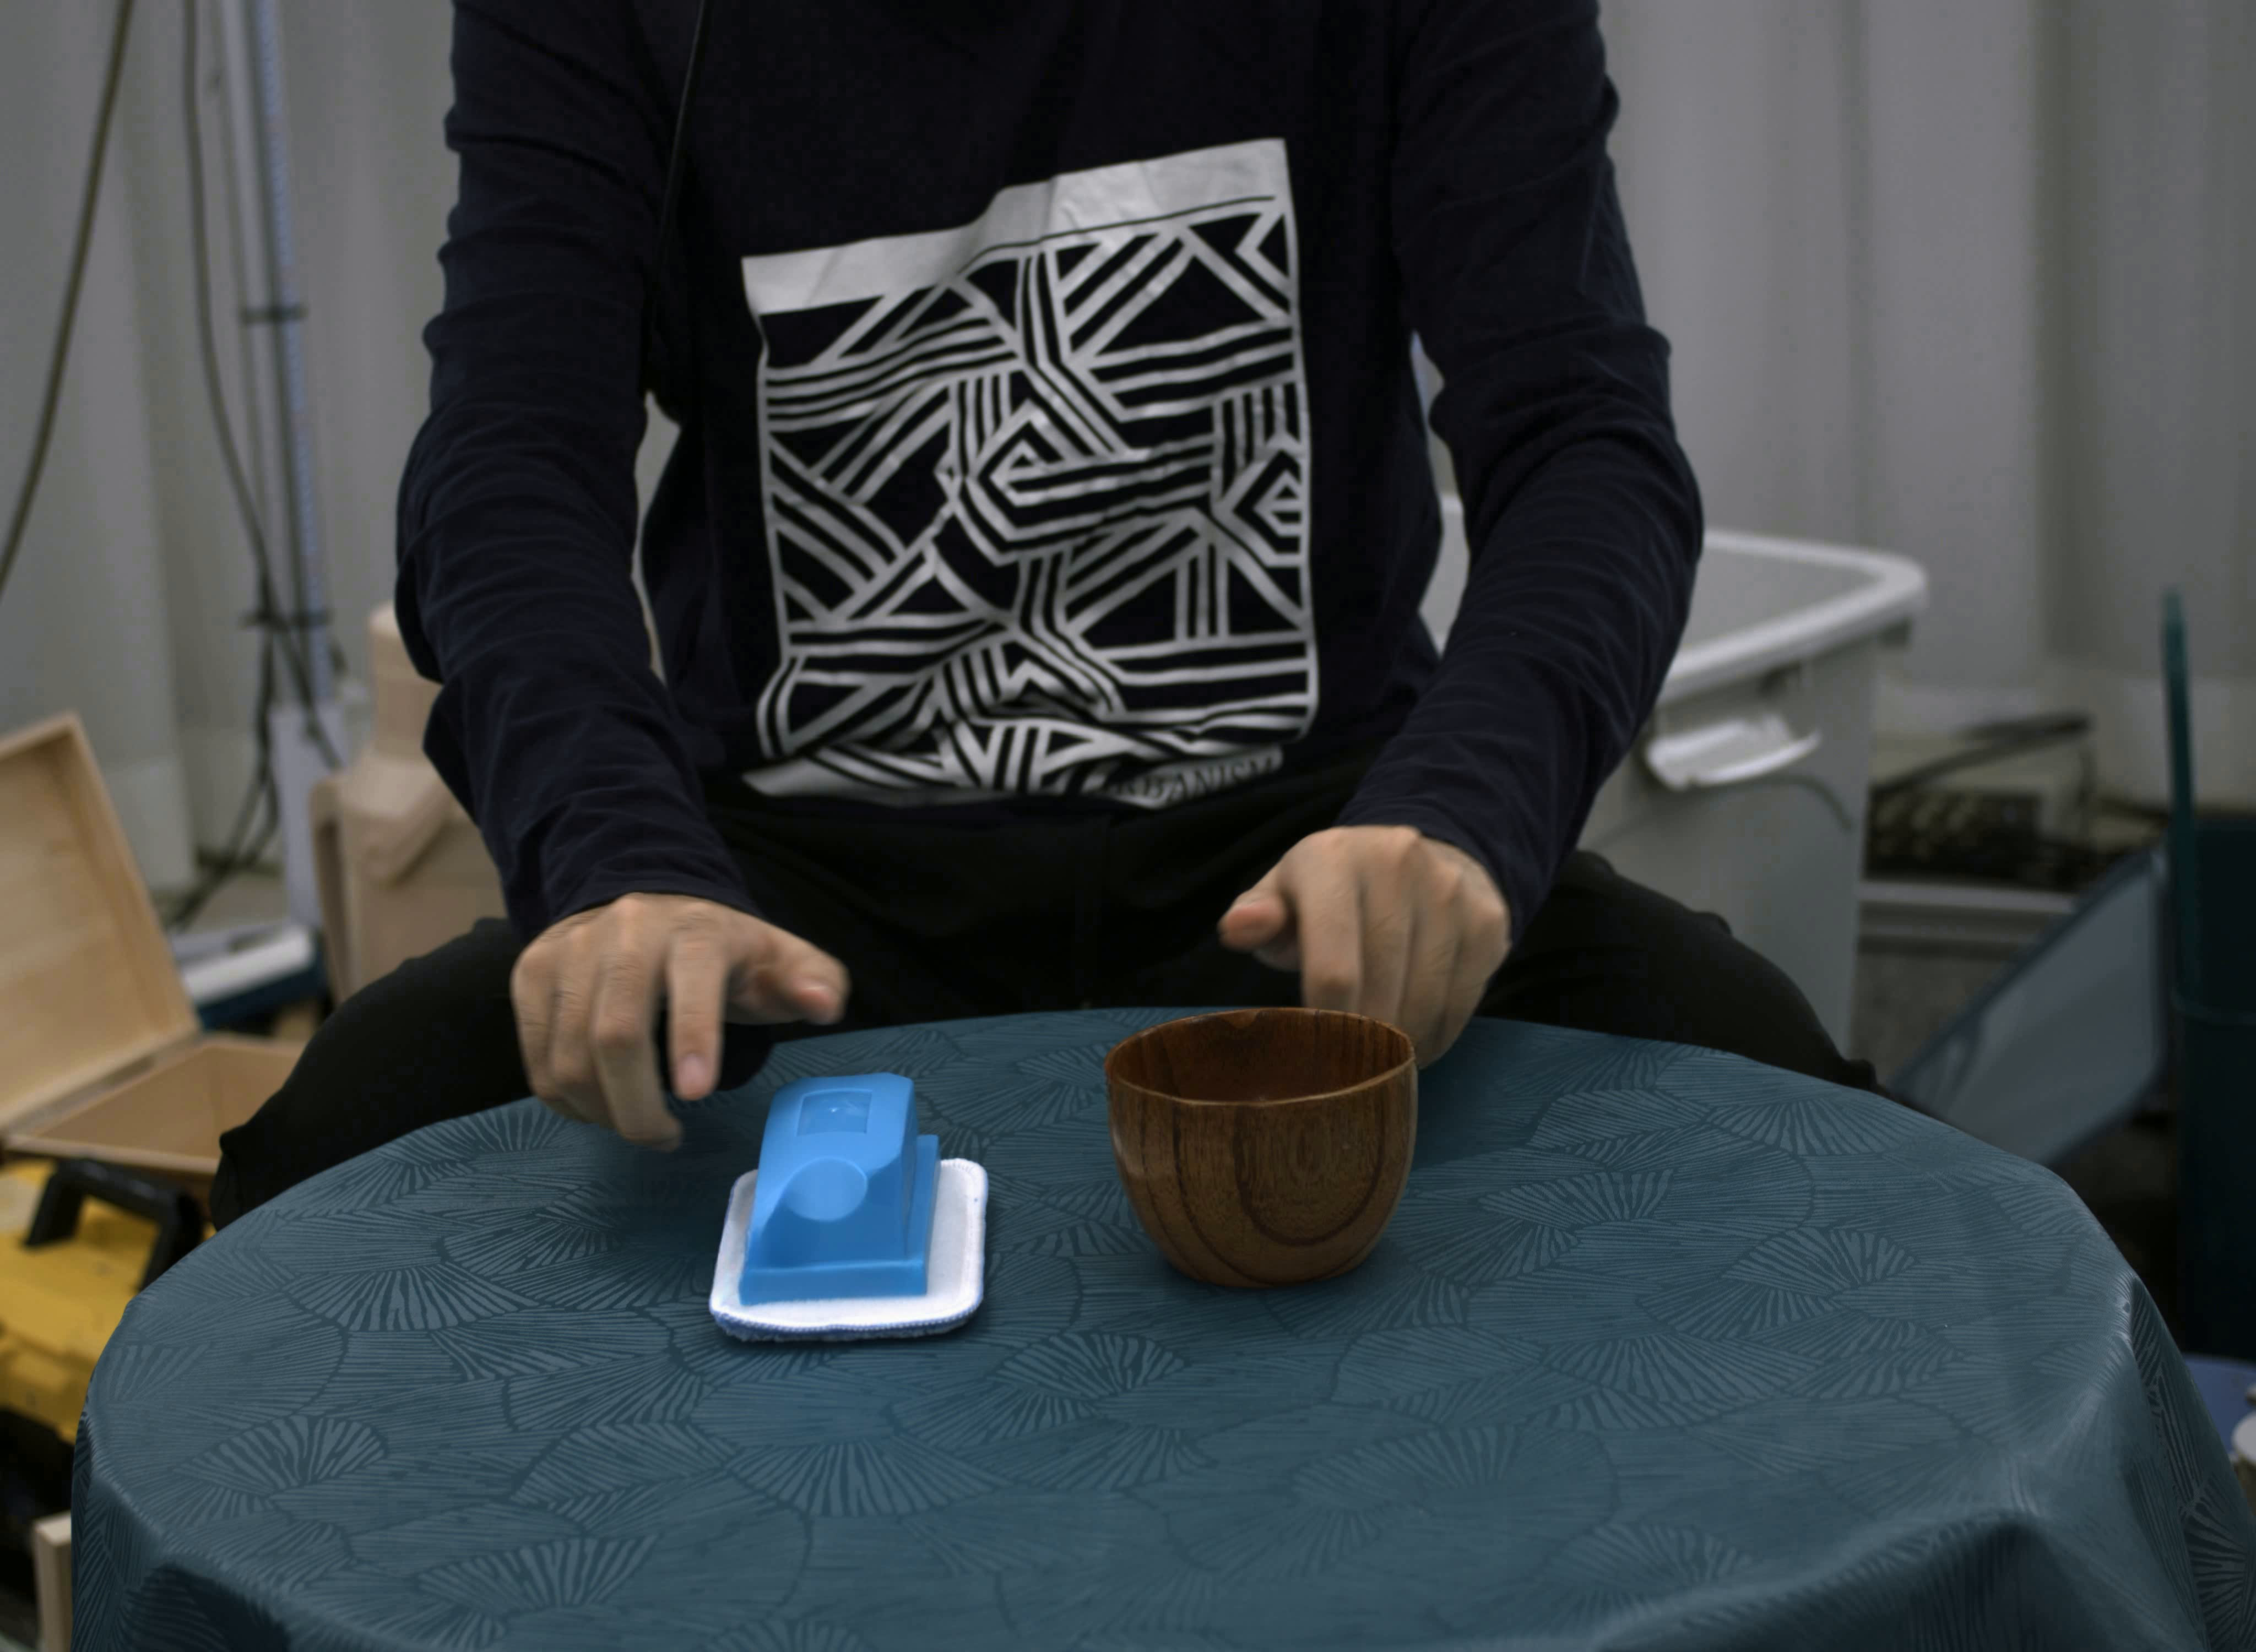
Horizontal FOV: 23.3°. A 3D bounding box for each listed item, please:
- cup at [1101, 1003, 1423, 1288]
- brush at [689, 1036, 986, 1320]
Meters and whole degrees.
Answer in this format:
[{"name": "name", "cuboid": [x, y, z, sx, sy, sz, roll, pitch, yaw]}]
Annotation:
[{"name": "cup", "cuboid": [0.041, 0.095, 1.655, 0.096, 0.067, 0.120, -9, 13, -6]}, {"name": "brush", "cuboid": [-0.087, 0.103, 1.657, 0.083, 0.055, 0.145, 1, 18, 2]}]
